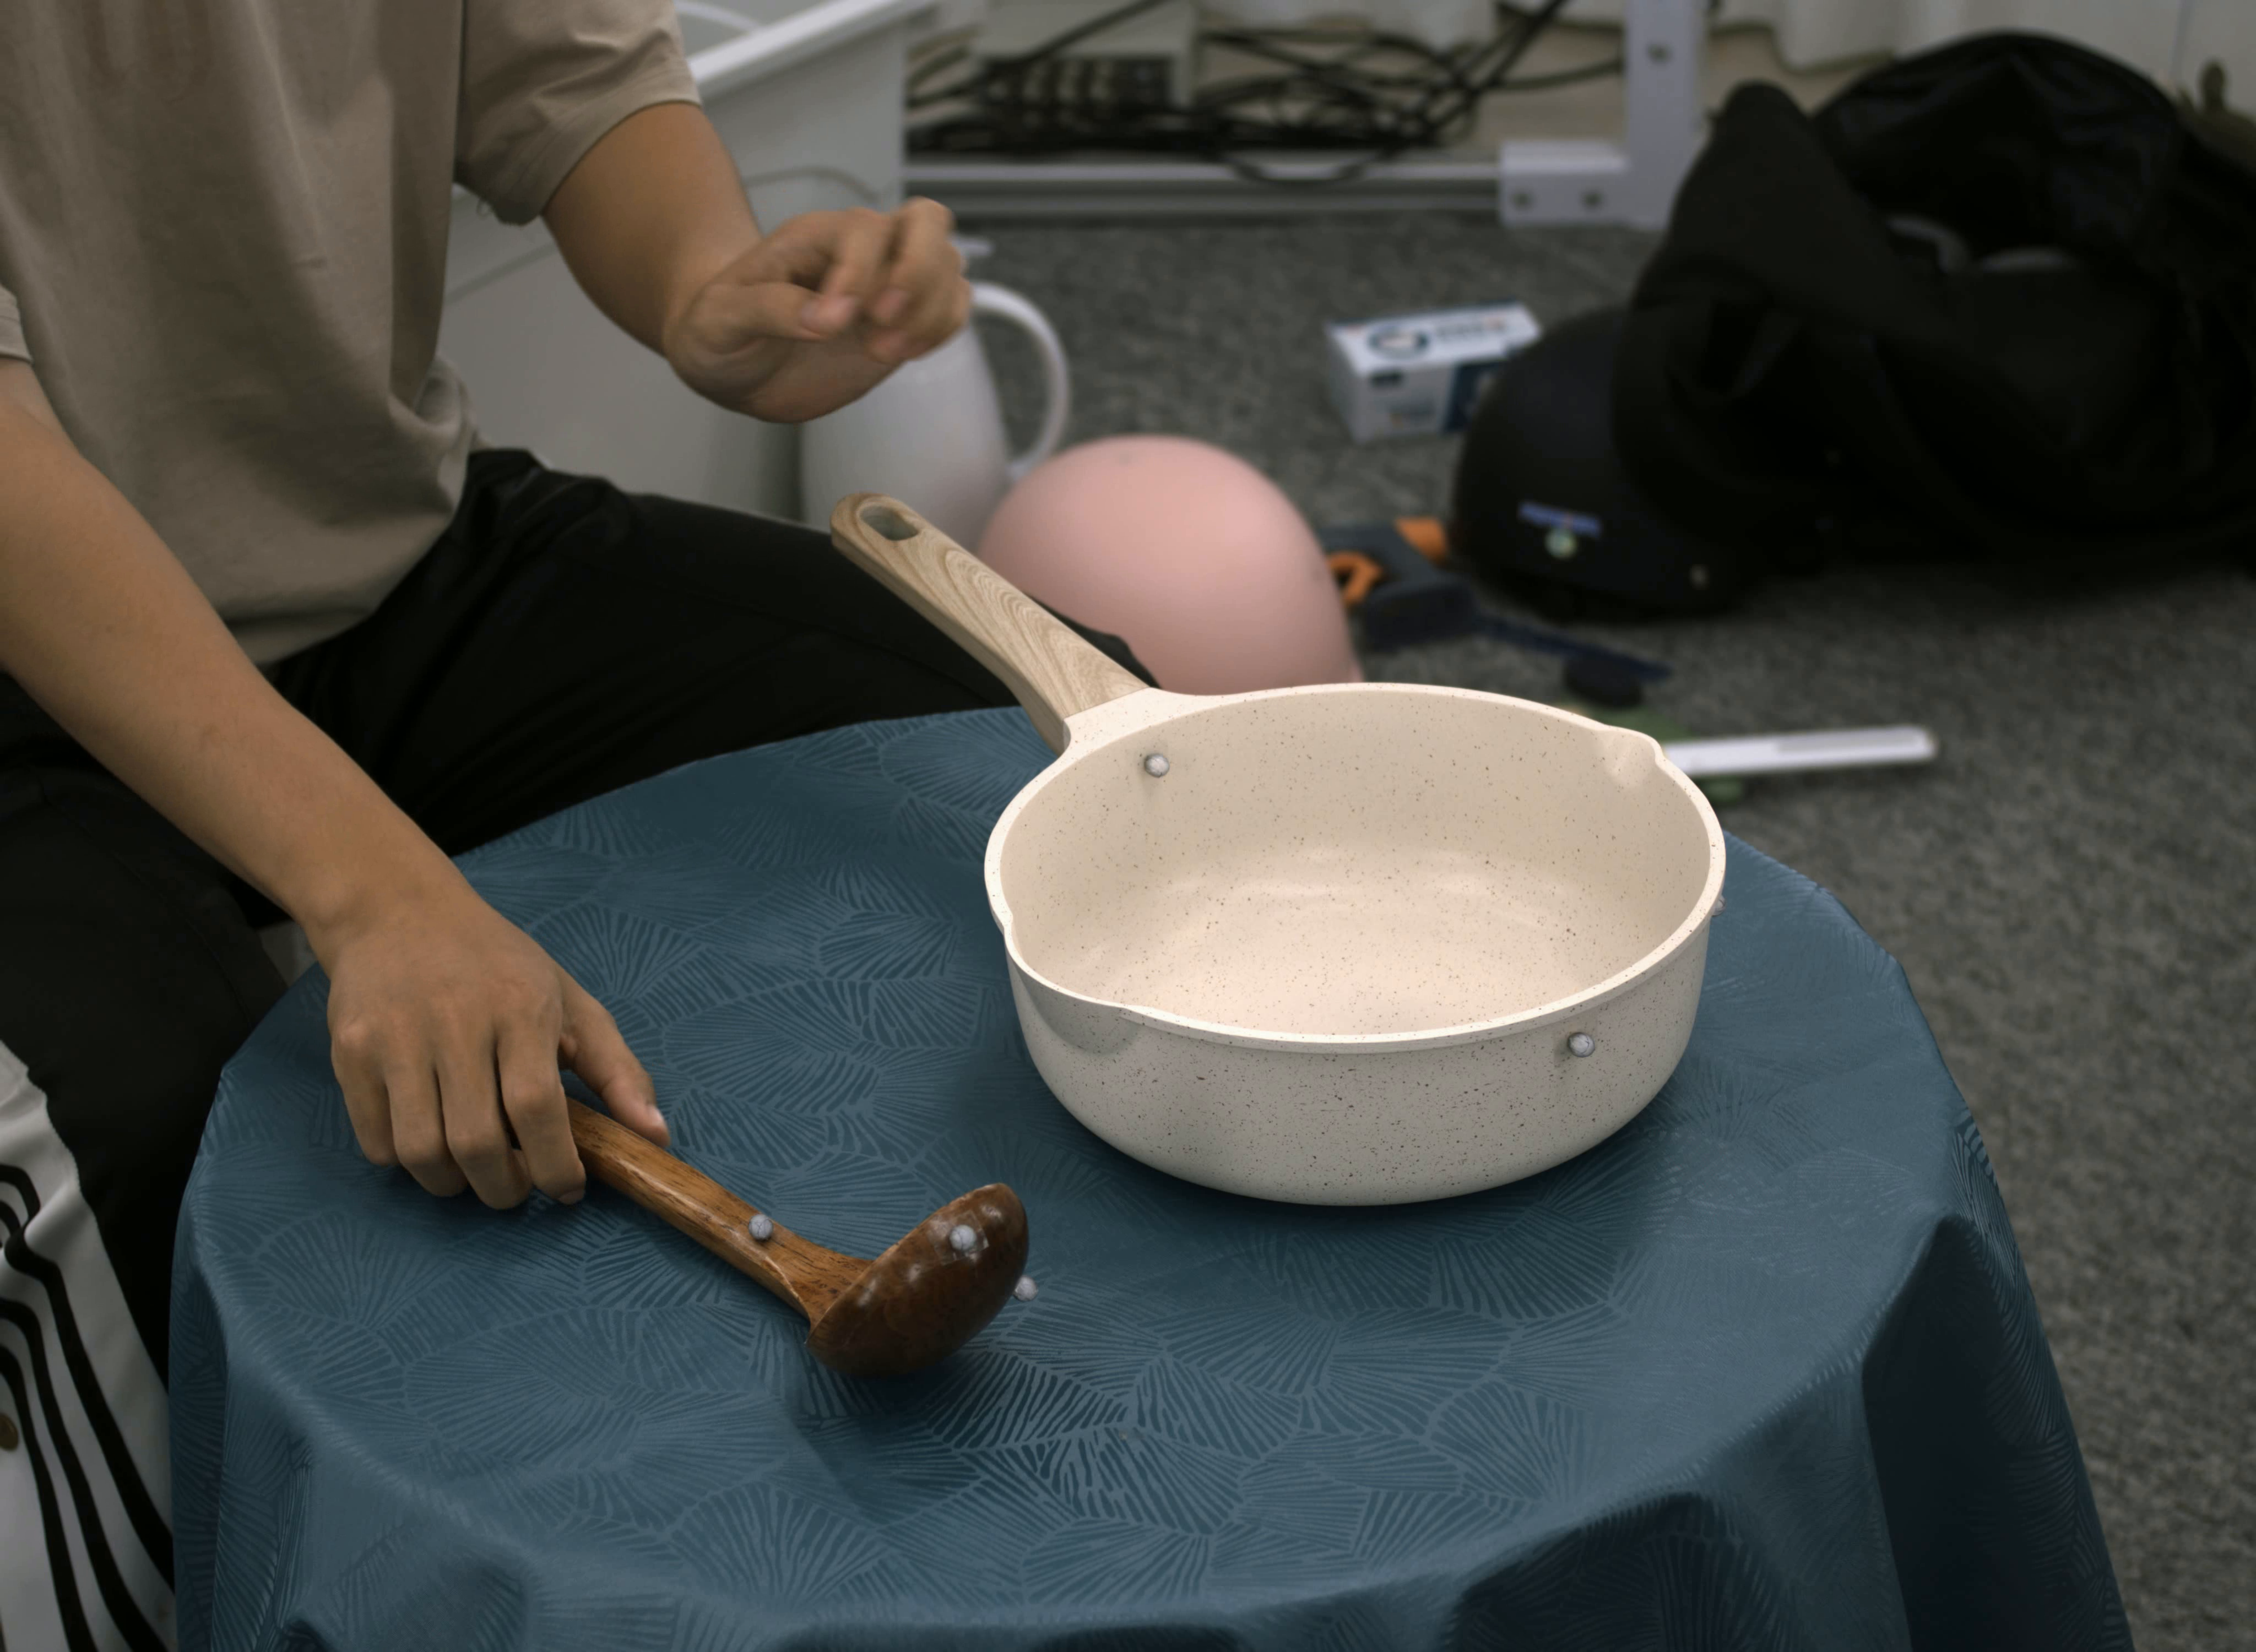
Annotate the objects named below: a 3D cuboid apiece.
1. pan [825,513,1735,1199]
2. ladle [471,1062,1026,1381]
[{"bbox_3d":[0.027,0.002,1.983,0.266,0.101,0.435,-22,33,-30],"label":"pan"},{"bbox_3d":[-0.136,0.108,1.817,0.083,0.076,0.274,-26,36,-33],"label":"ladle"}]
